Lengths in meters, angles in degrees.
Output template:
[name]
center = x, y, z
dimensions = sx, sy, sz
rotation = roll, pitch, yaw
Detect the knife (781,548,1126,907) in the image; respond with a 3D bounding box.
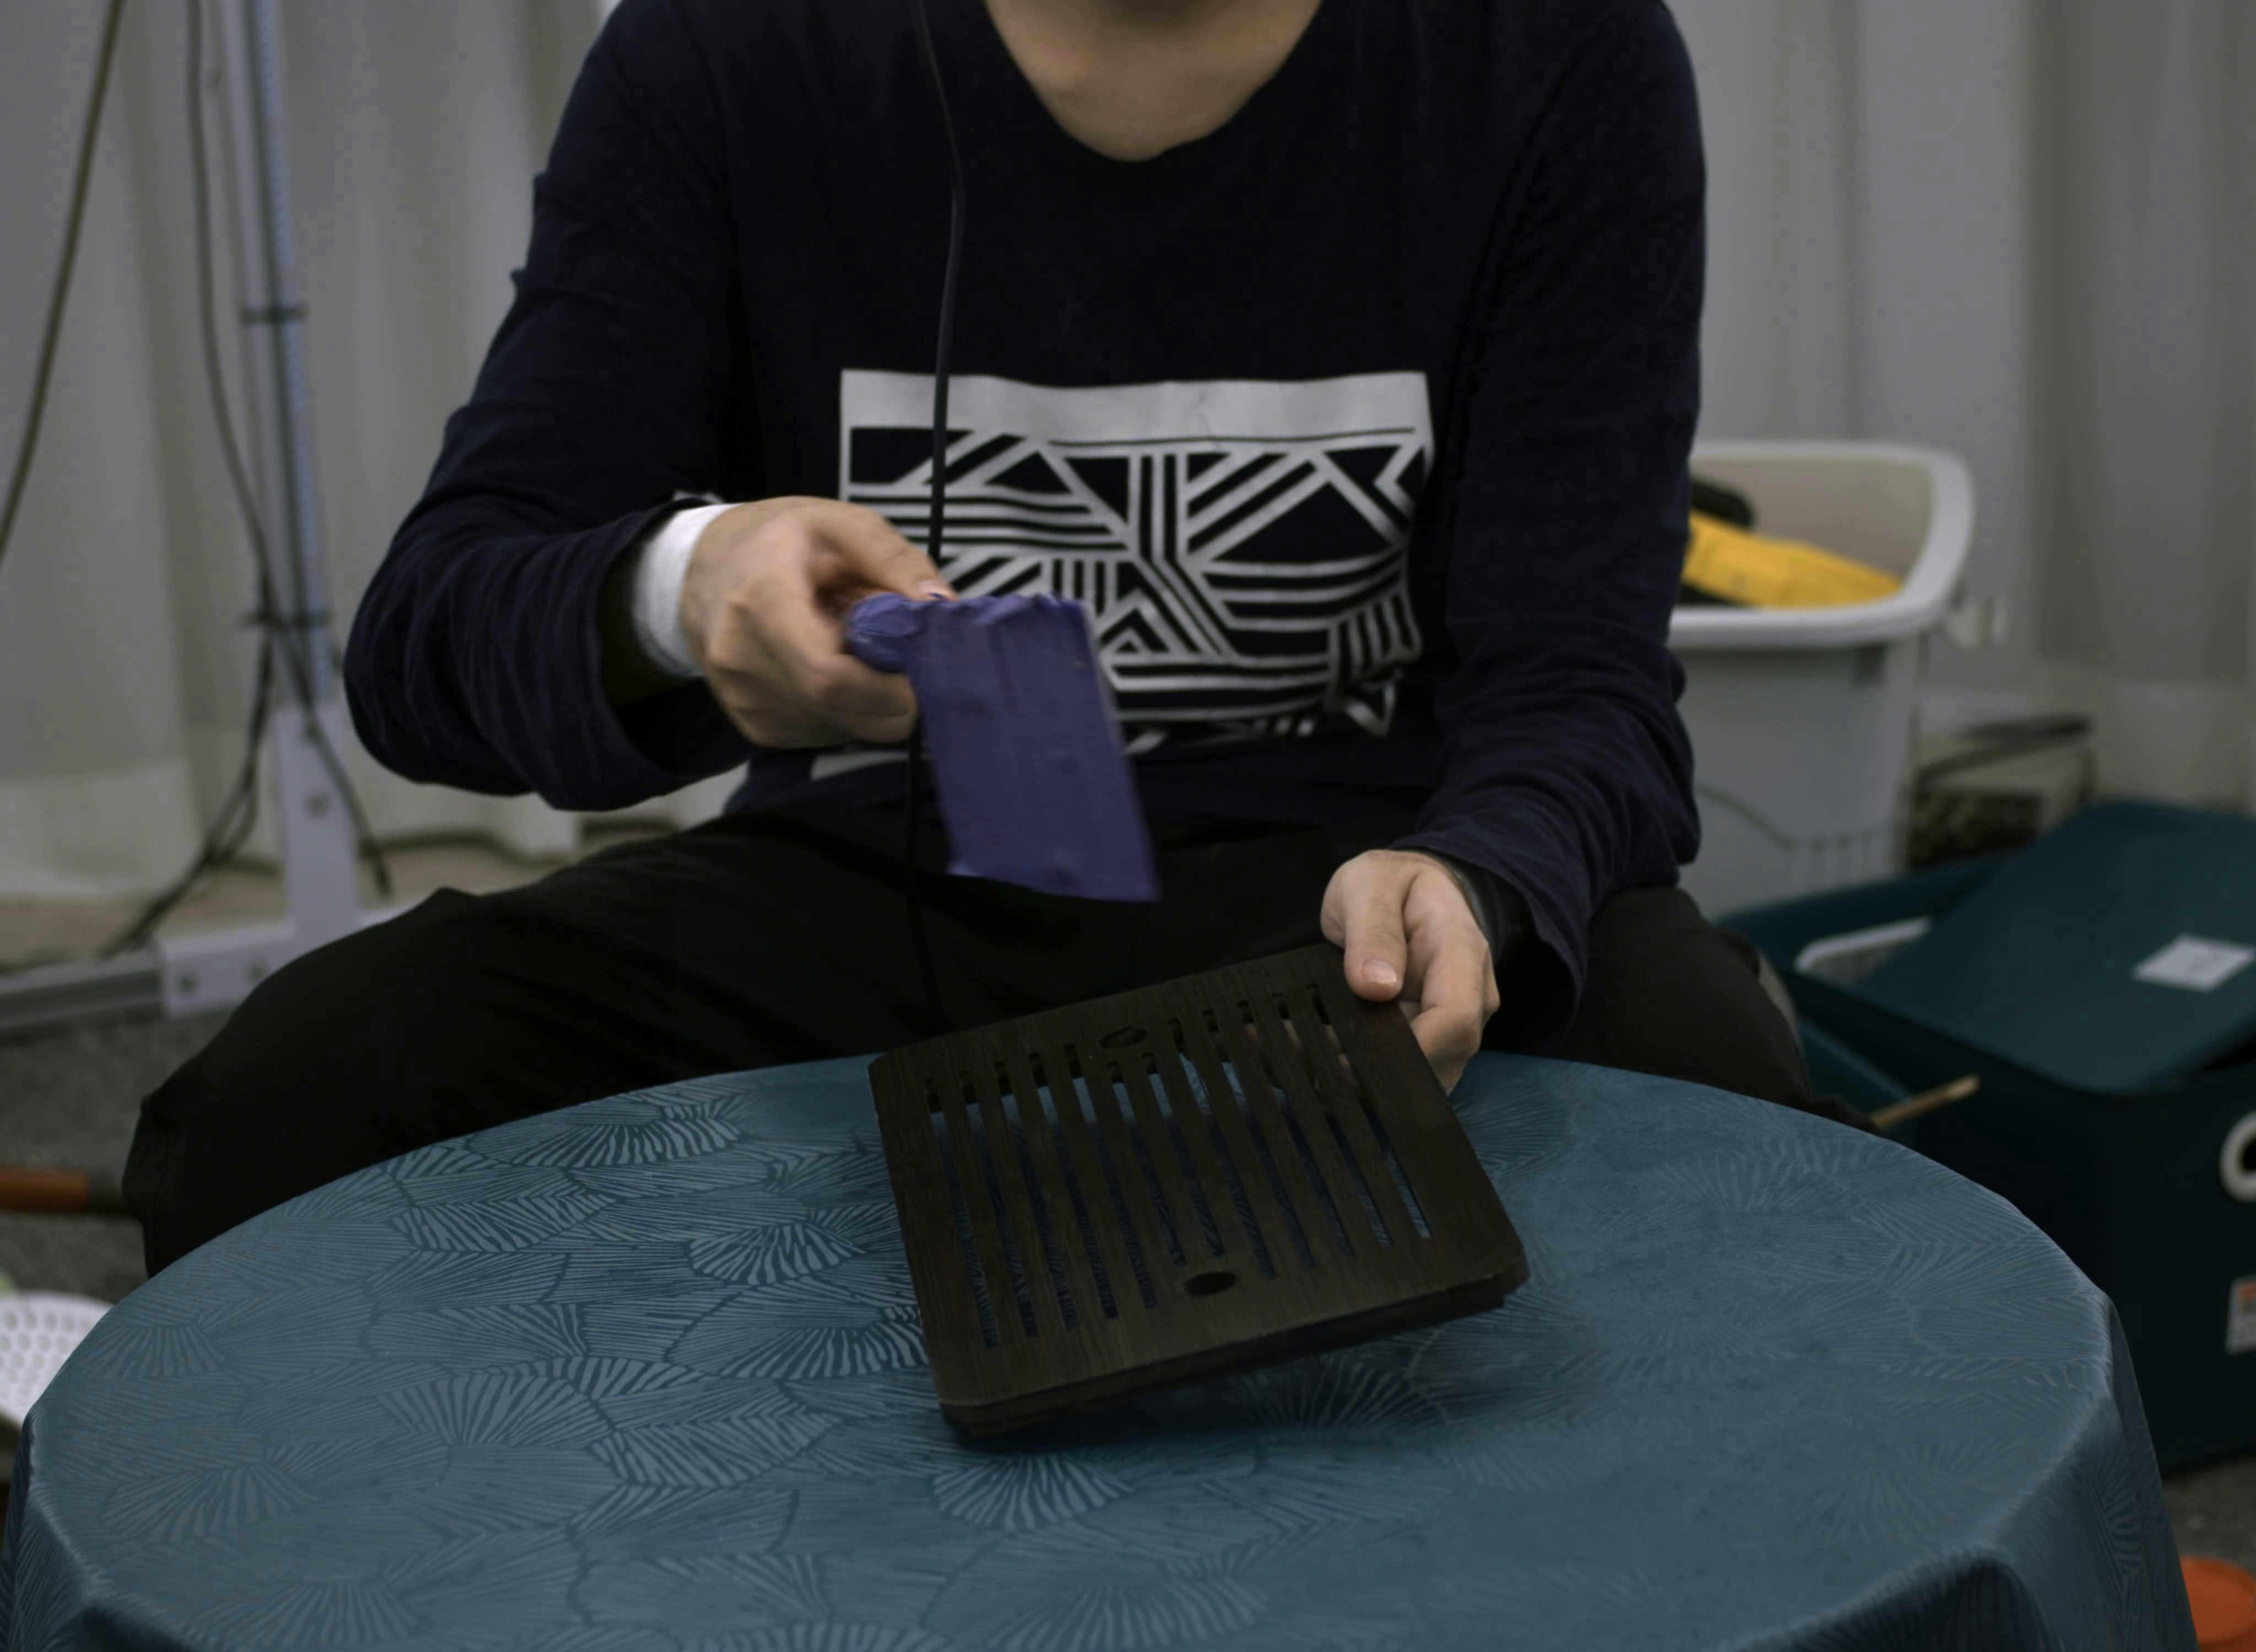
[knife]
center = -0.056, -0.028, 1.679
dimensions = 0.032, 0.104, 0.316
rotation = -11, 3, -14

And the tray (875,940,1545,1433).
[tray]
center = 0.018, 0.105, 1.647
dimensions = 0.169, 0.018, 0.308
rotation = -14, 17, -3
